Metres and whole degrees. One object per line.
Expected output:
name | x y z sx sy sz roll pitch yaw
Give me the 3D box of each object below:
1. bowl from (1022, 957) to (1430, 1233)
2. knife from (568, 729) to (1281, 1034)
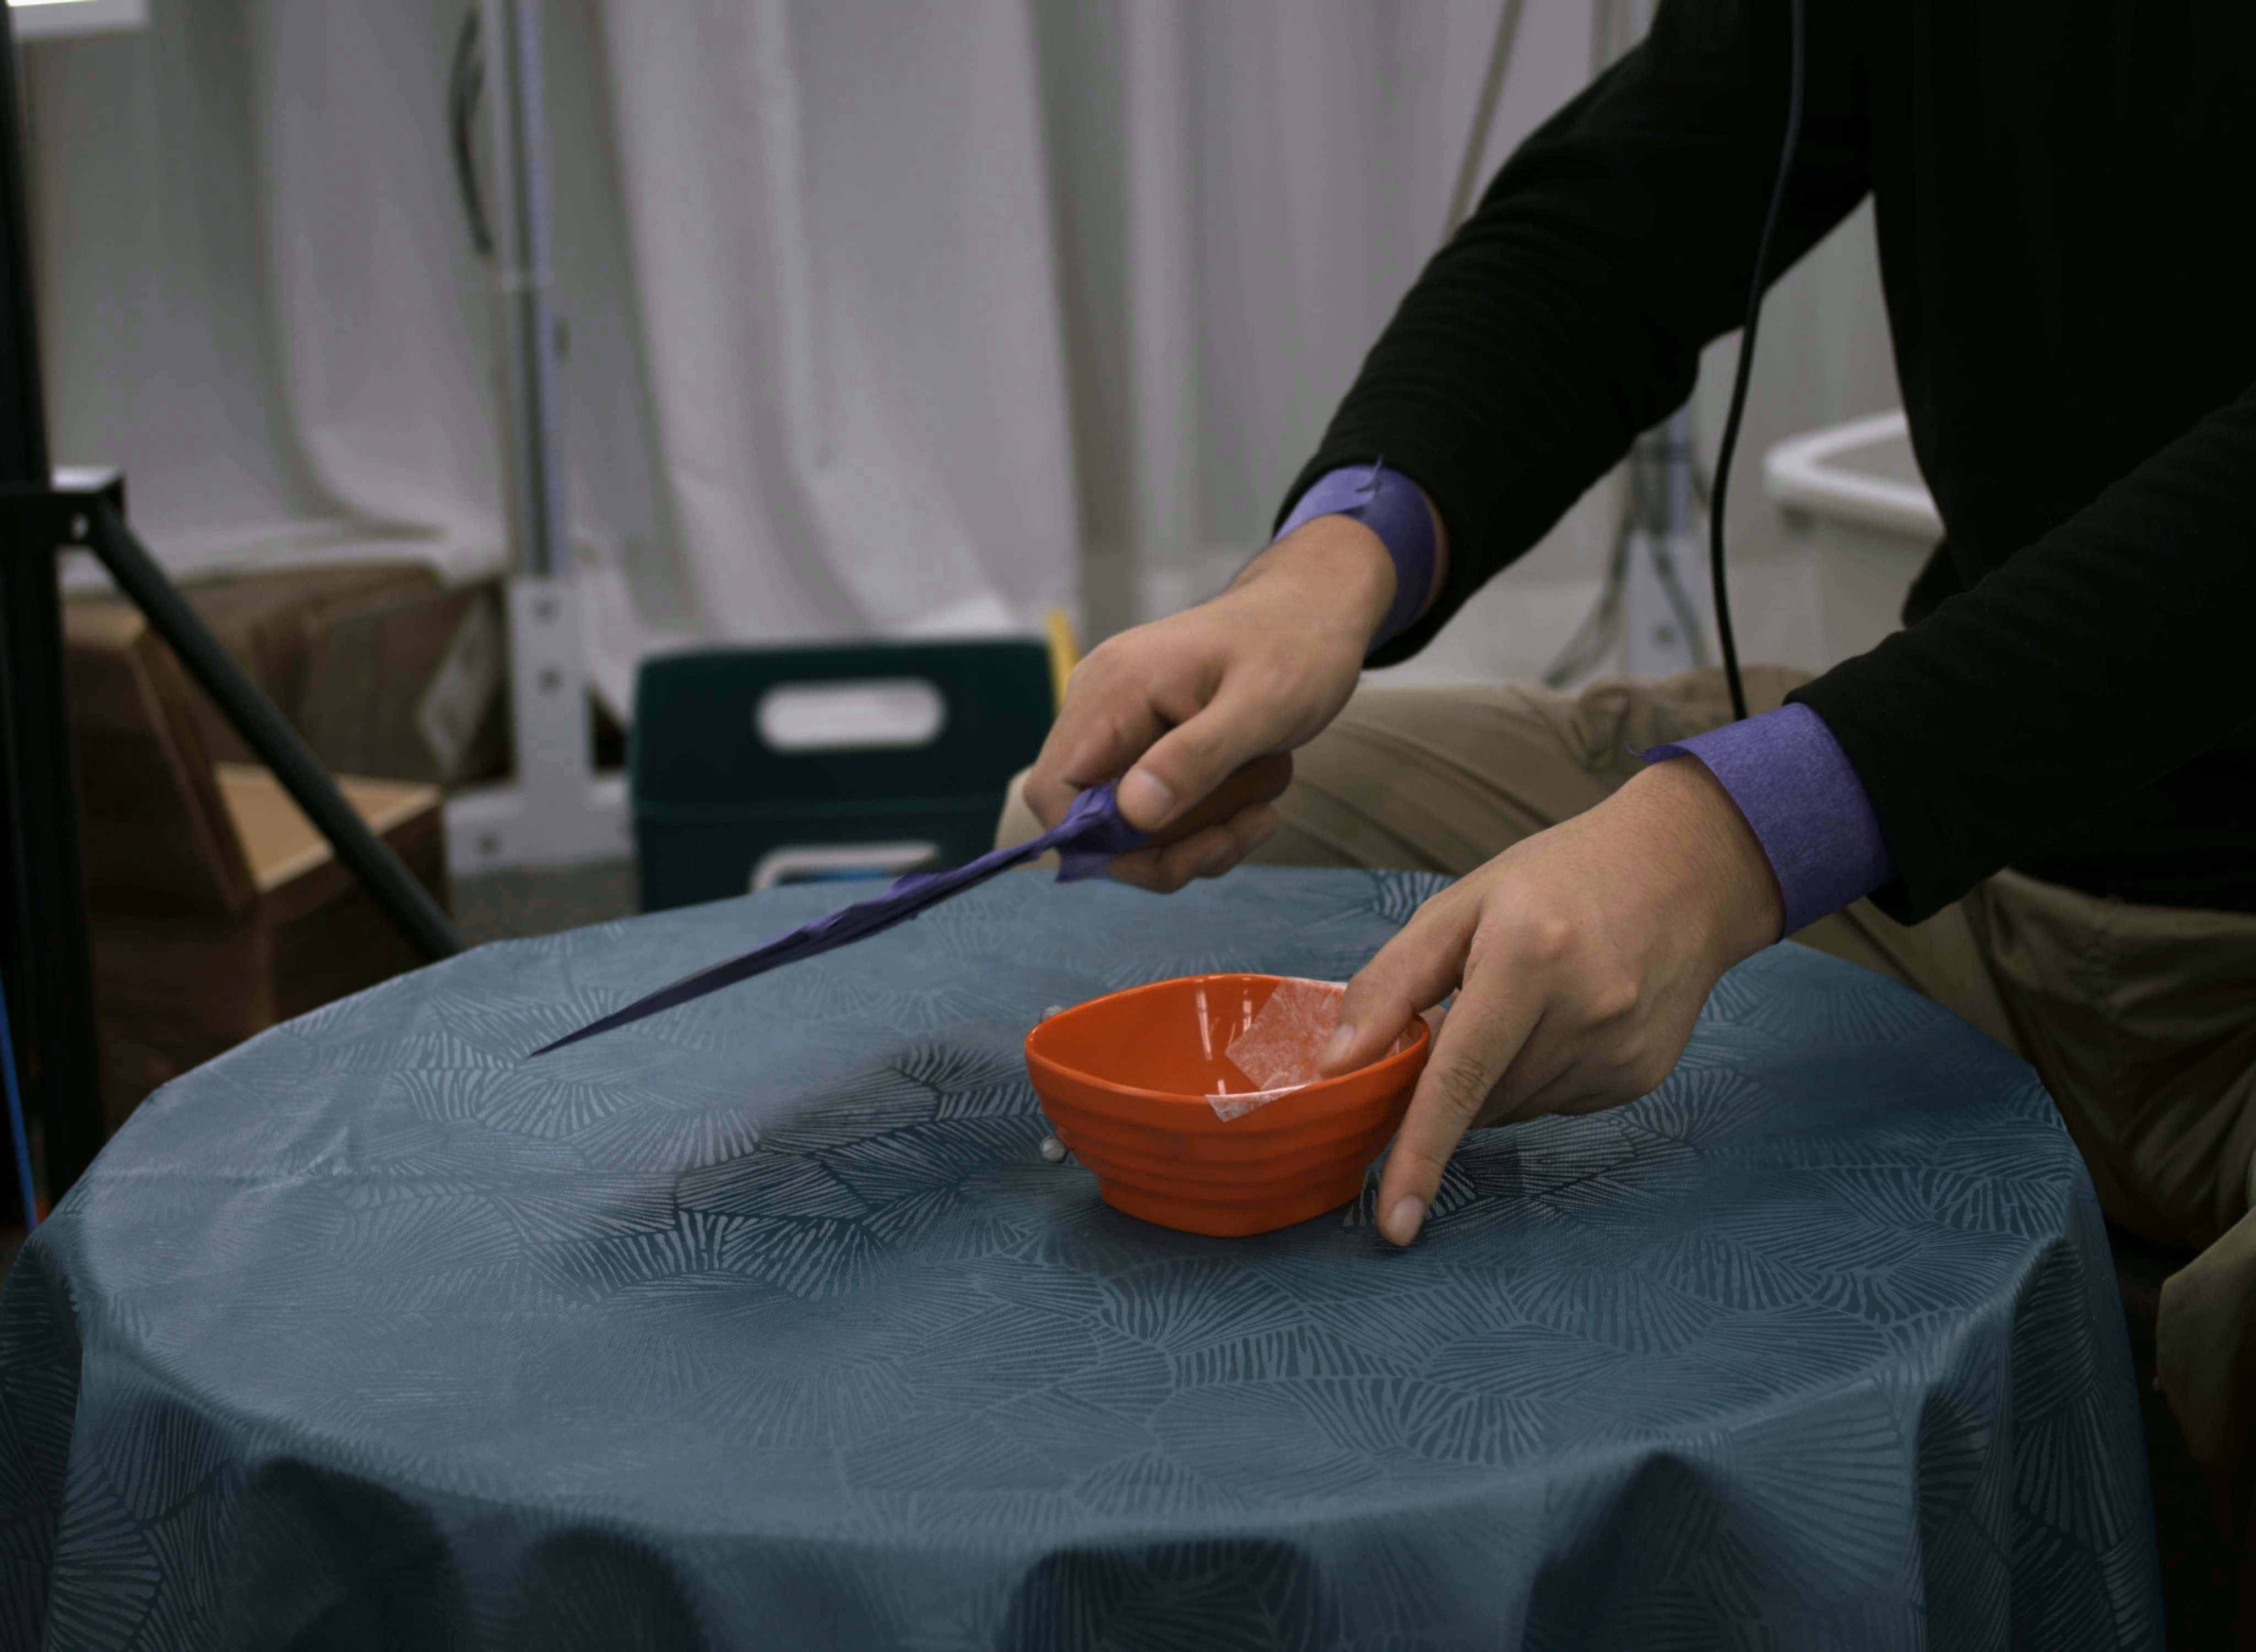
bowl | 0.030 0.081 1.541 0.118 0.051 0.119 -4 17 0
knife | -0.061 0.016 1.643 0.105 0.032 0.309 -25 -5 32
